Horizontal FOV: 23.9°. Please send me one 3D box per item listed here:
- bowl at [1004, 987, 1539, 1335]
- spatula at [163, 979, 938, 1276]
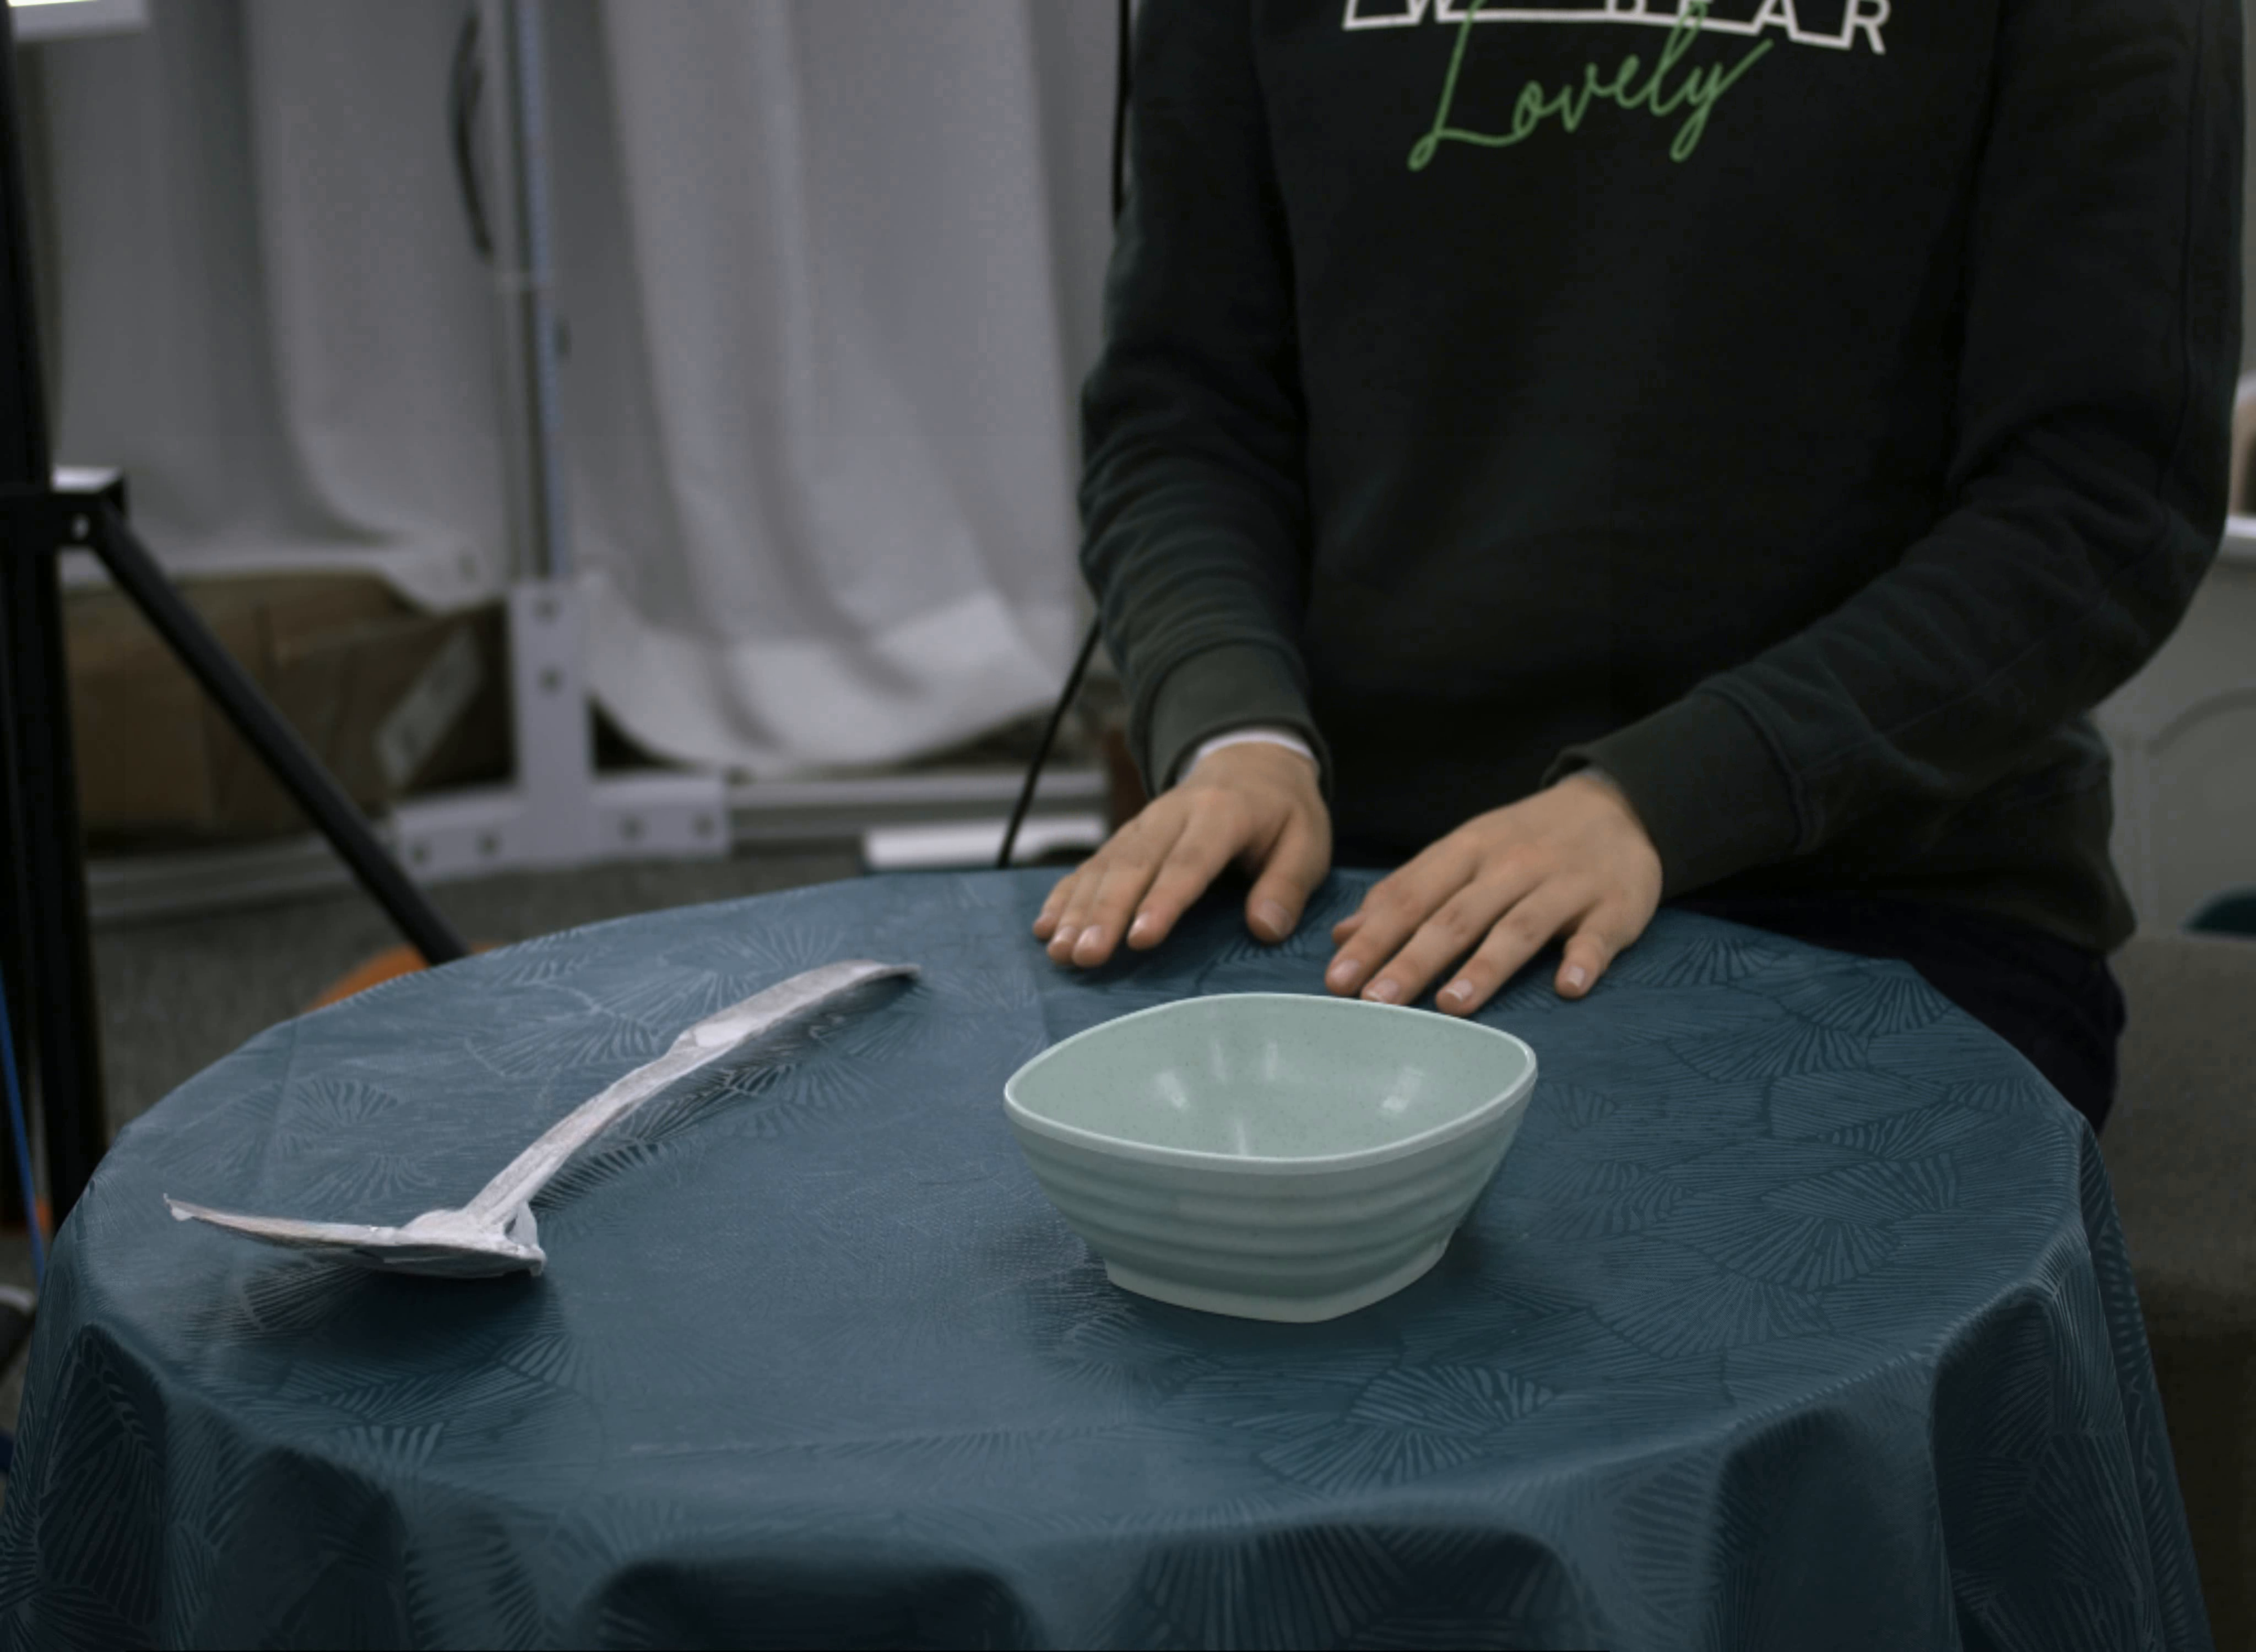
[{"bbox_3d":[0.041,0.098,1.489,0.150,0.058,0.152,-1,18,-1],"label":"bowl"},{"bbox_3d":[-0.152,0.081,1.608,0.100,0.045,0.359,3,17,26],"label":"spatula"}]
